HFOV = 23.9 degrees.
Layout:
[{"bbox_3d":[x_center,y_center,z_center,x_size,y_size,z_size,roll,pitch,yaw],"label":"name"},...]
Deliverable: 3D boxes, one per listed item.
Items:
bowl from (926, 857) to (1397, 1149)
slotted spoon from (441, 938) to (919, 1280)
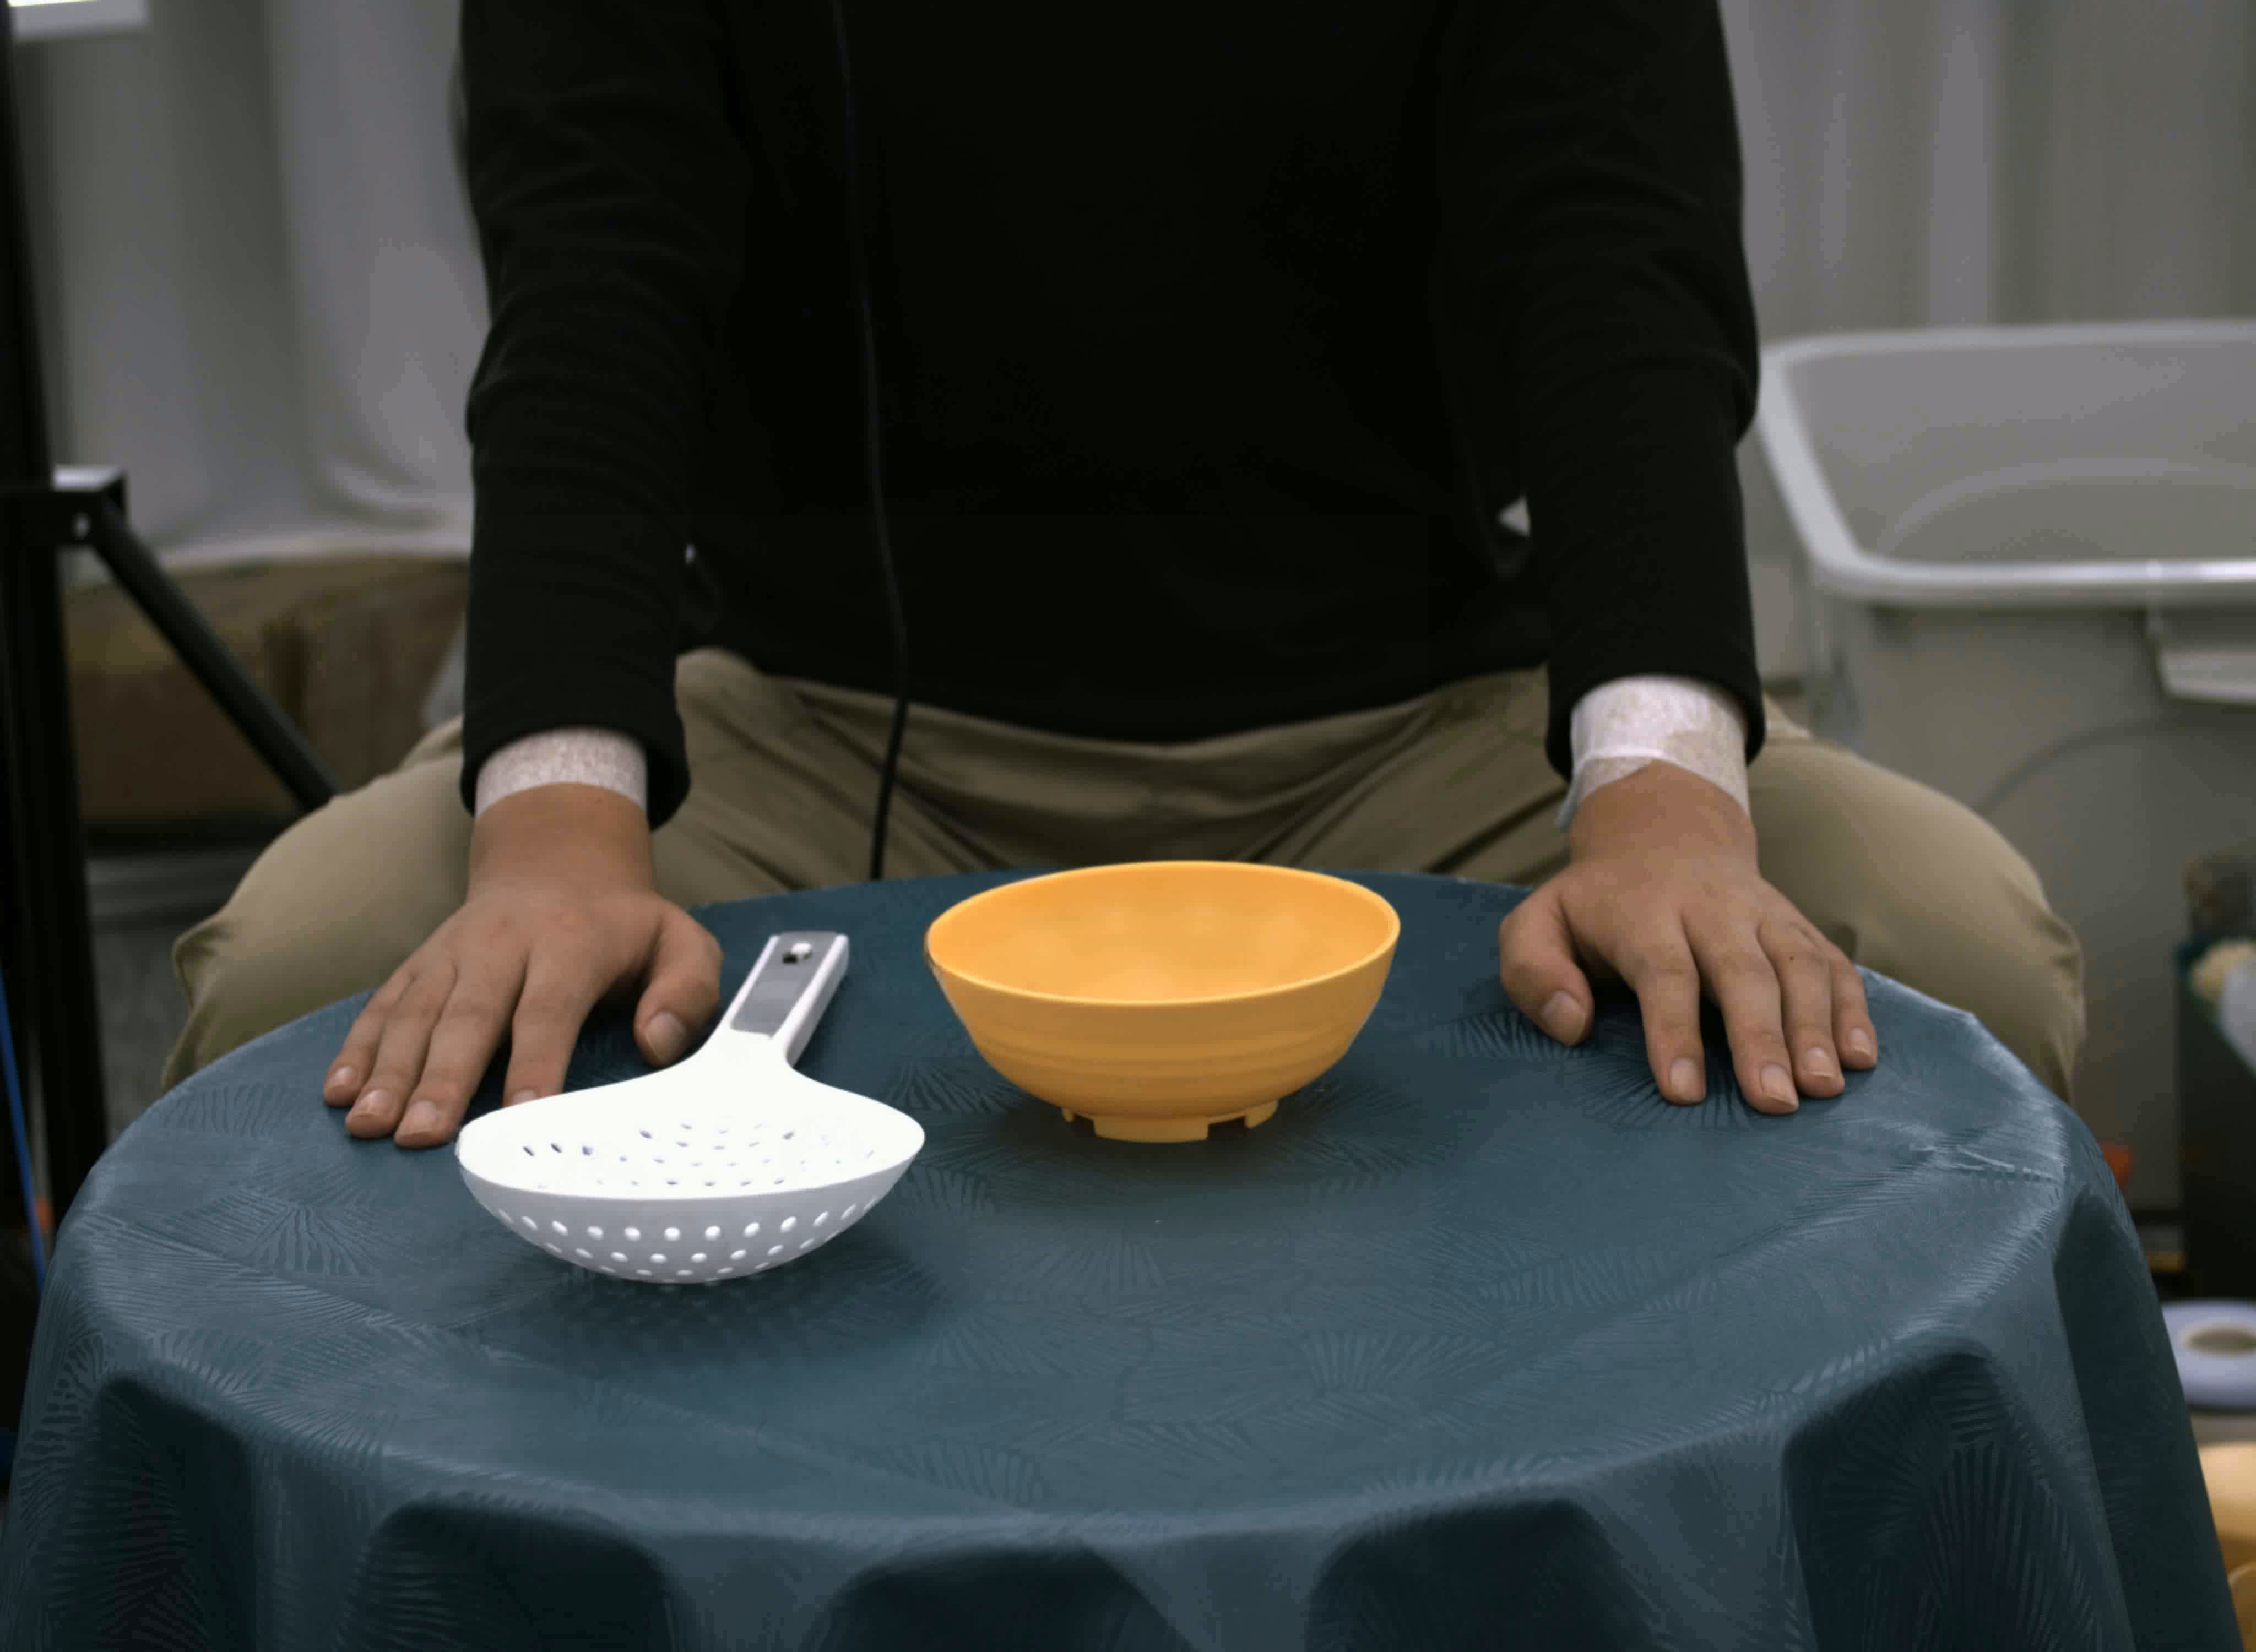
[{"bbox_3d":[0.011,0.060,1.624,0.144,0.060,0.146,-2,17,-1],"label":"bowl"},{"bbox_3d":[-0.119,0.075,1.608,0.136,0.046,0.350,-1,15,4],"label":"slotted spoon"}]
